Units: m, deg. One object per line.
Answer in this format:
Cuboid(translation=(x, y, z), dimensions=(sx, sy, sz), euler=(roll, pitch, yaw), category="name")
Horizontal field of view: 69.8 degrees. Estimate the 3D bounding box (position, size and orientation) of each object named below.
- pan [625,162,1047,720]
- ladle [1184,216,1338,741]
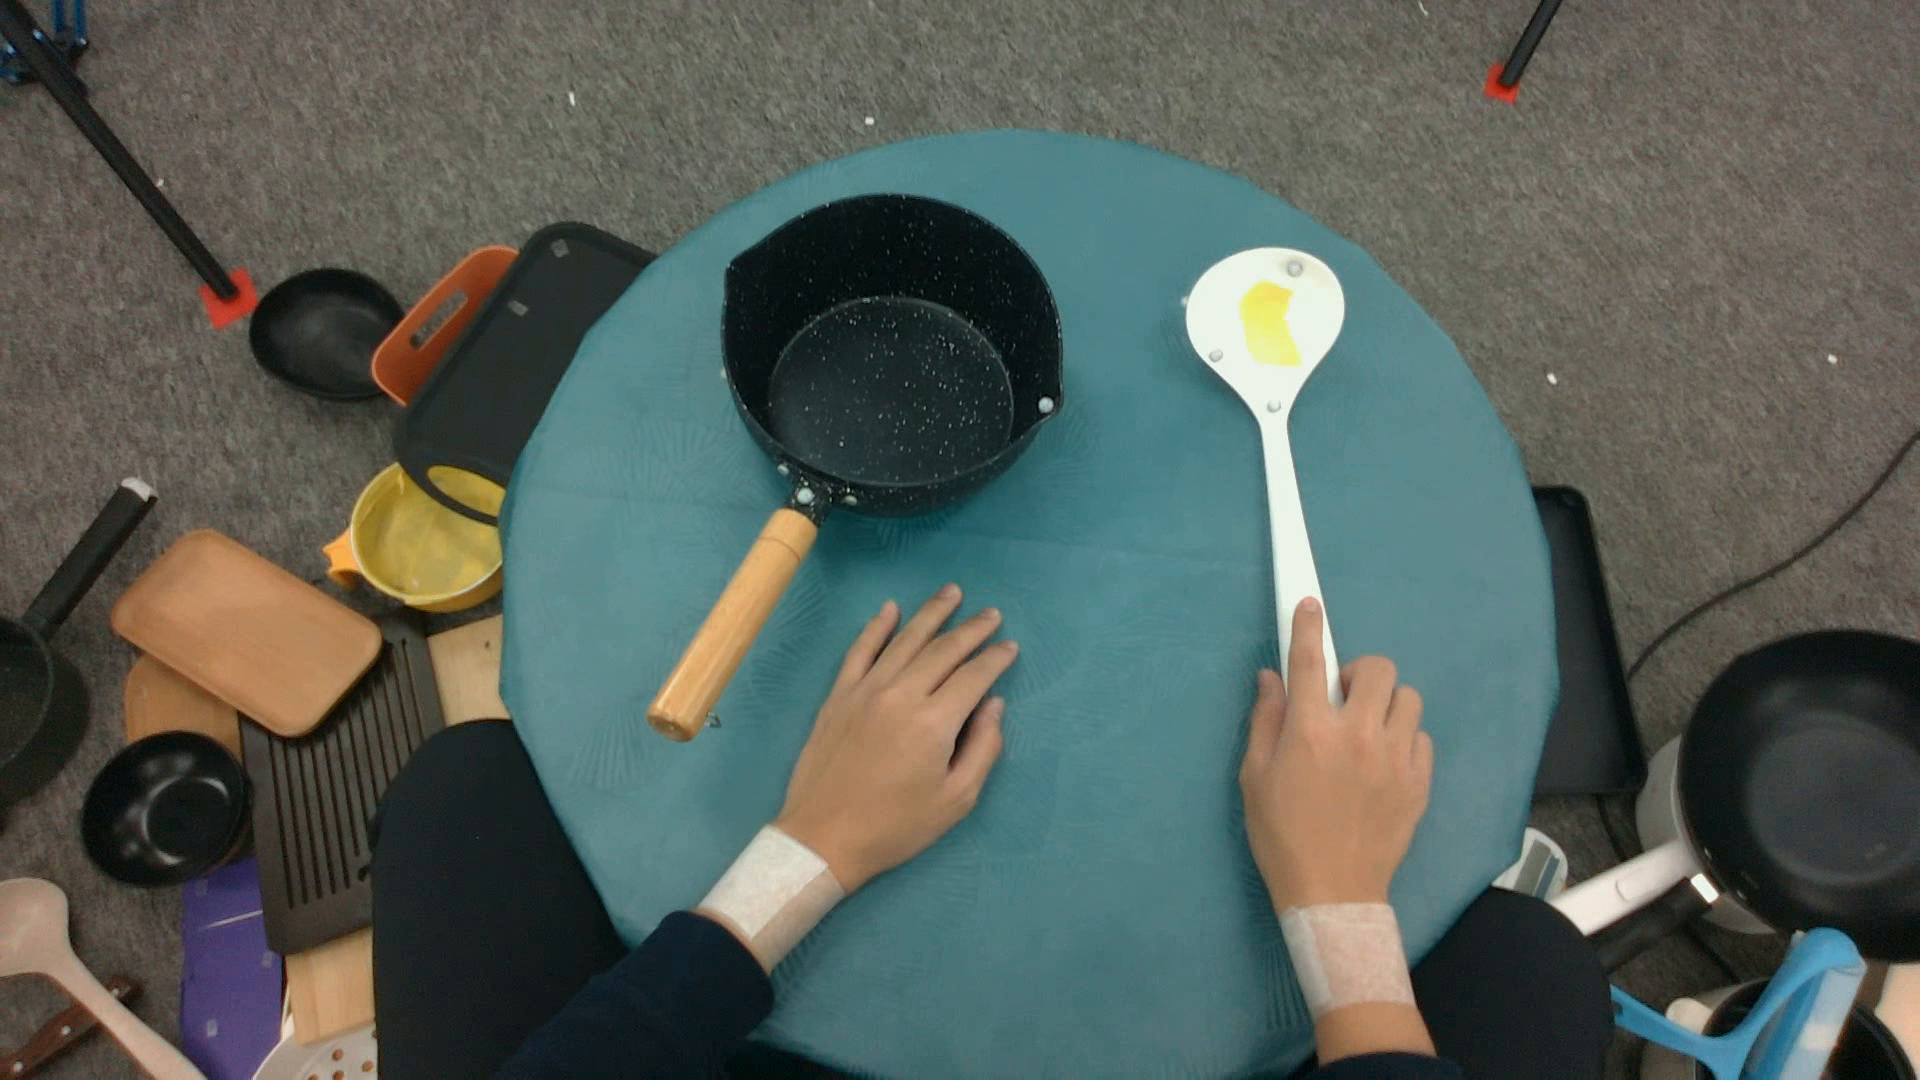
Cuboid(translation=(-0.079, -0.046, 0.736), dimensions=(0.207, 0.108, 0.344), euler=(22, 67, 3), category="pan")
Cuboid(translation=(0.180, -0.039, 0.775), dimensions=(0.090, 0.070, 0.294), euler=(-3, 70, 3), category="ladle")
